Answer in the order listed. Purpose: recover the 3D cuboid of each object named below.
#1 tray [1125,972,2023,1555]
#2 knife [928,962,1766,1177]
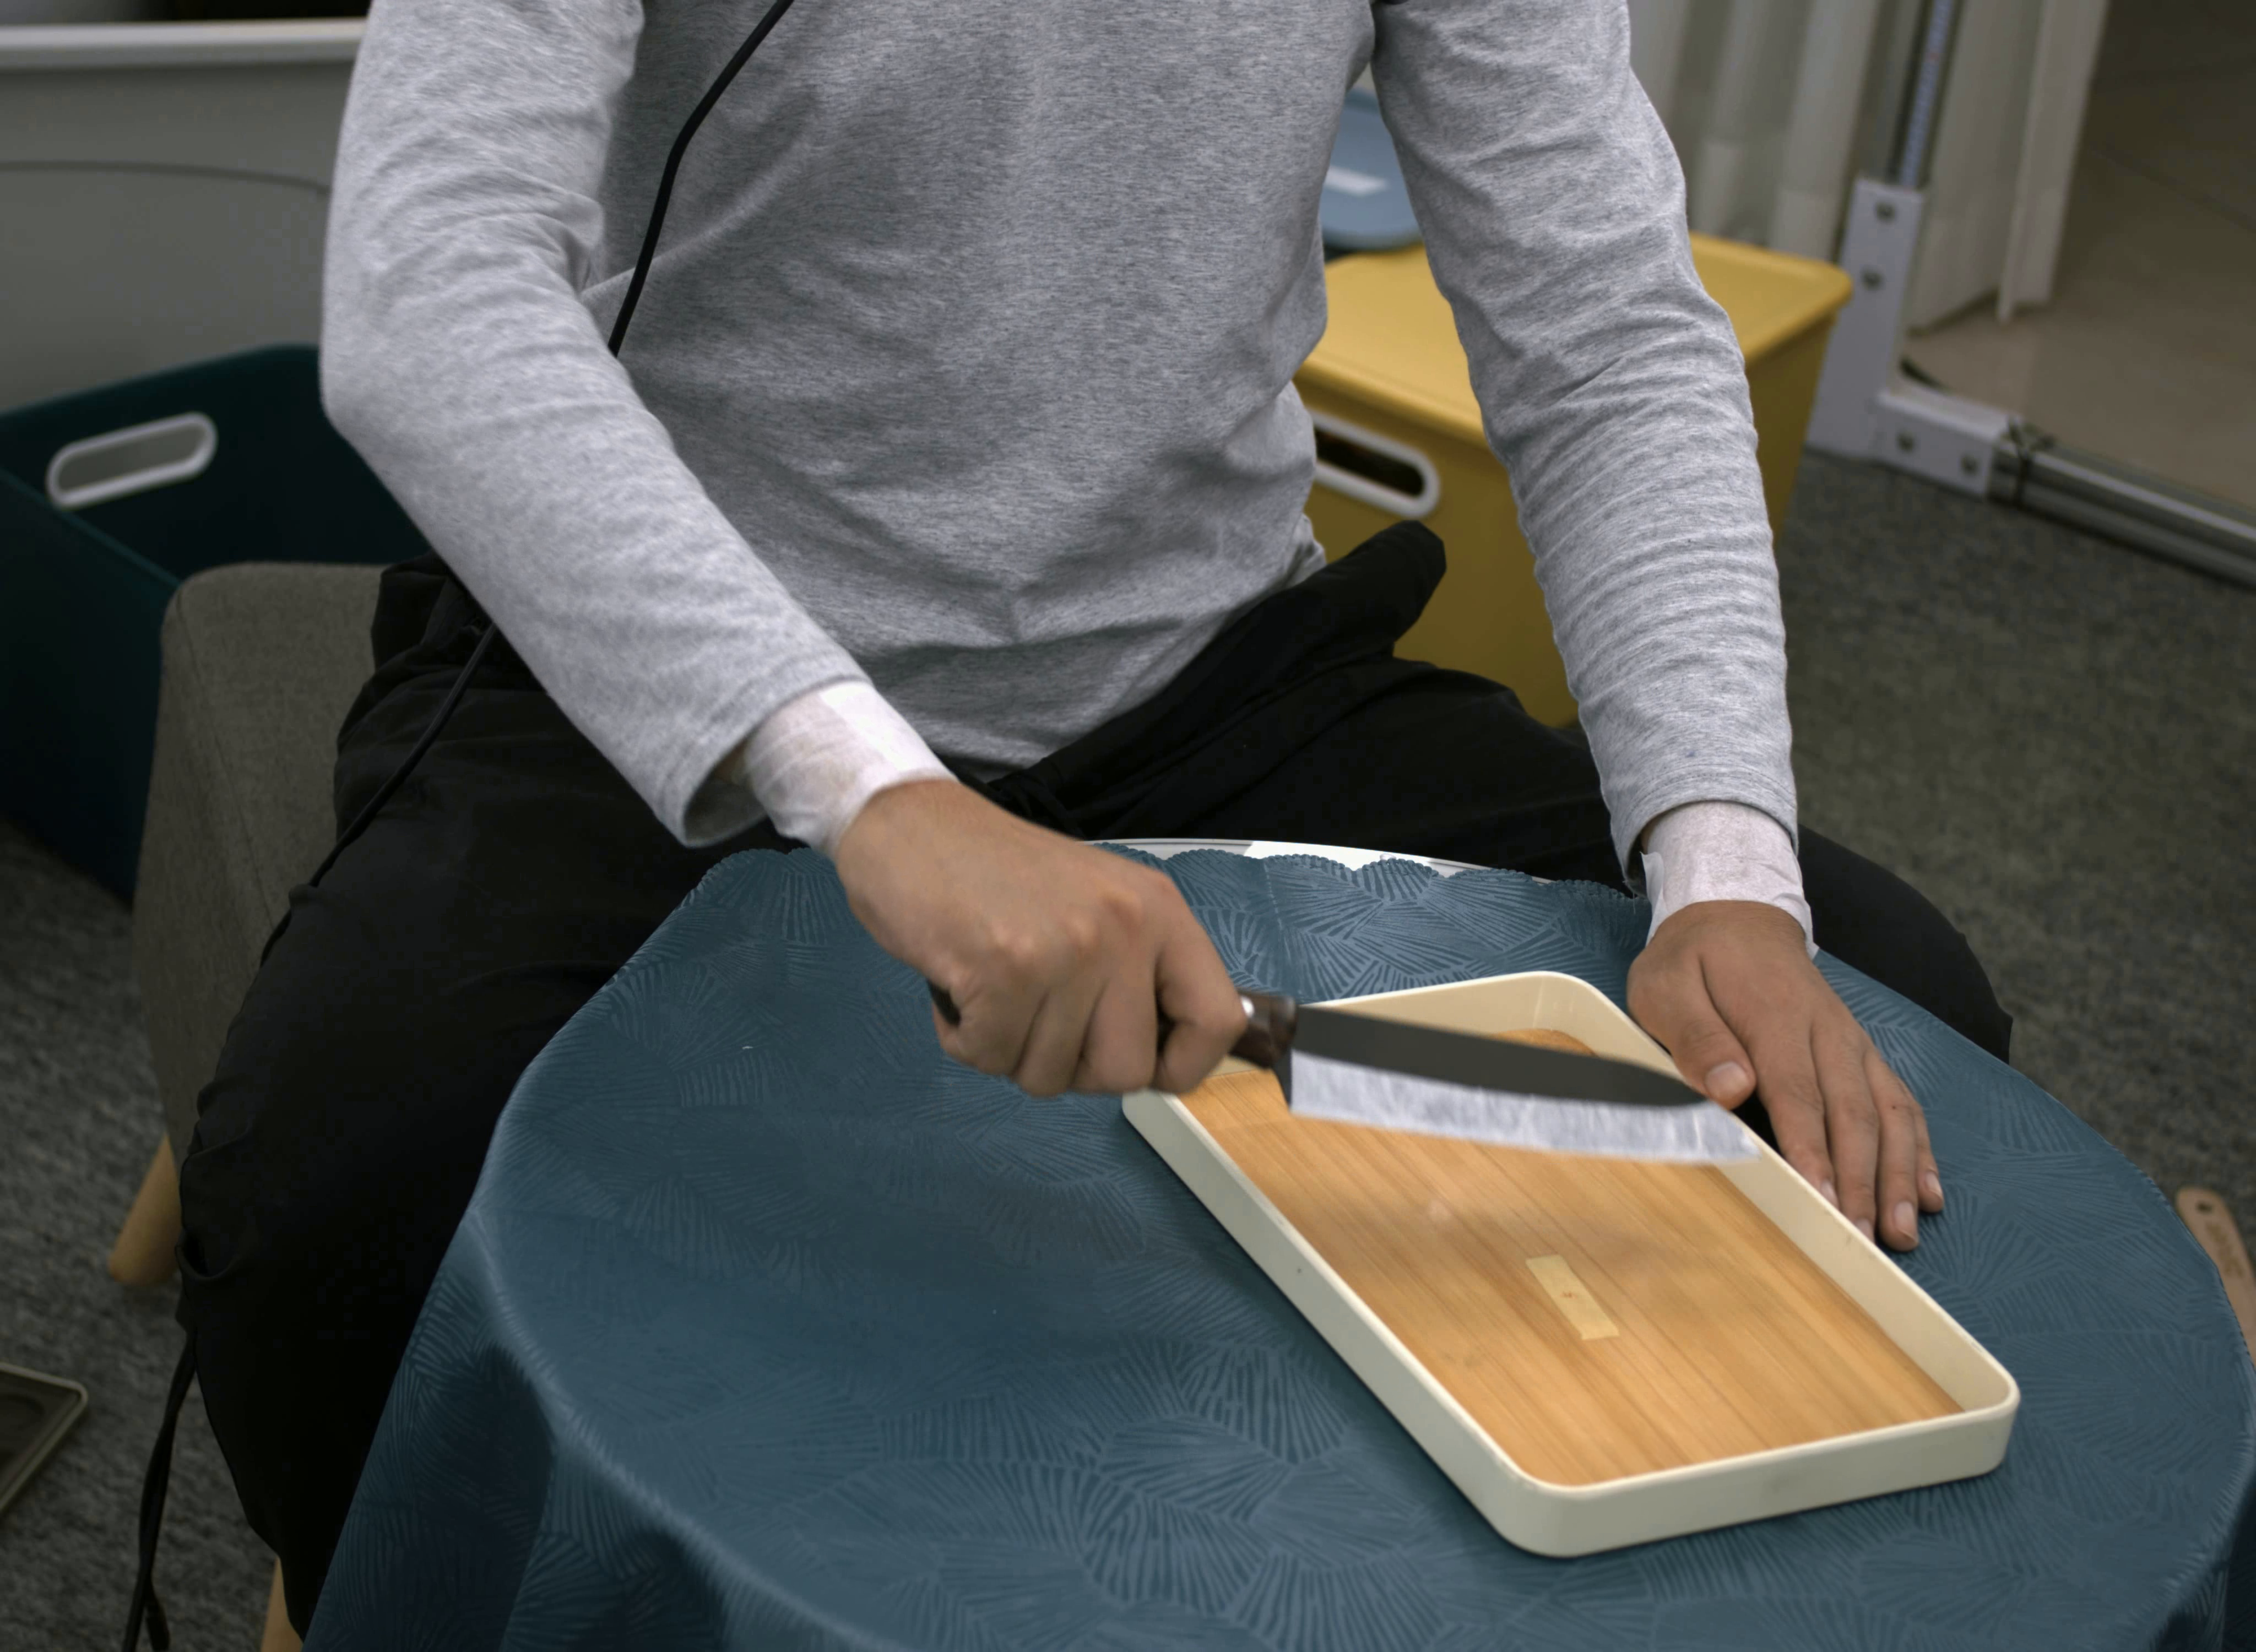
[{"bbox_3d":[0.142,0.139,1.778,0.190,0.027,0.303,-7,30,-25],"label":"tray"},{"bbox_3d":[0.074,0.081,1.739,0.287,0.020,0.050,12,53,-11],"label":"knife"}]
